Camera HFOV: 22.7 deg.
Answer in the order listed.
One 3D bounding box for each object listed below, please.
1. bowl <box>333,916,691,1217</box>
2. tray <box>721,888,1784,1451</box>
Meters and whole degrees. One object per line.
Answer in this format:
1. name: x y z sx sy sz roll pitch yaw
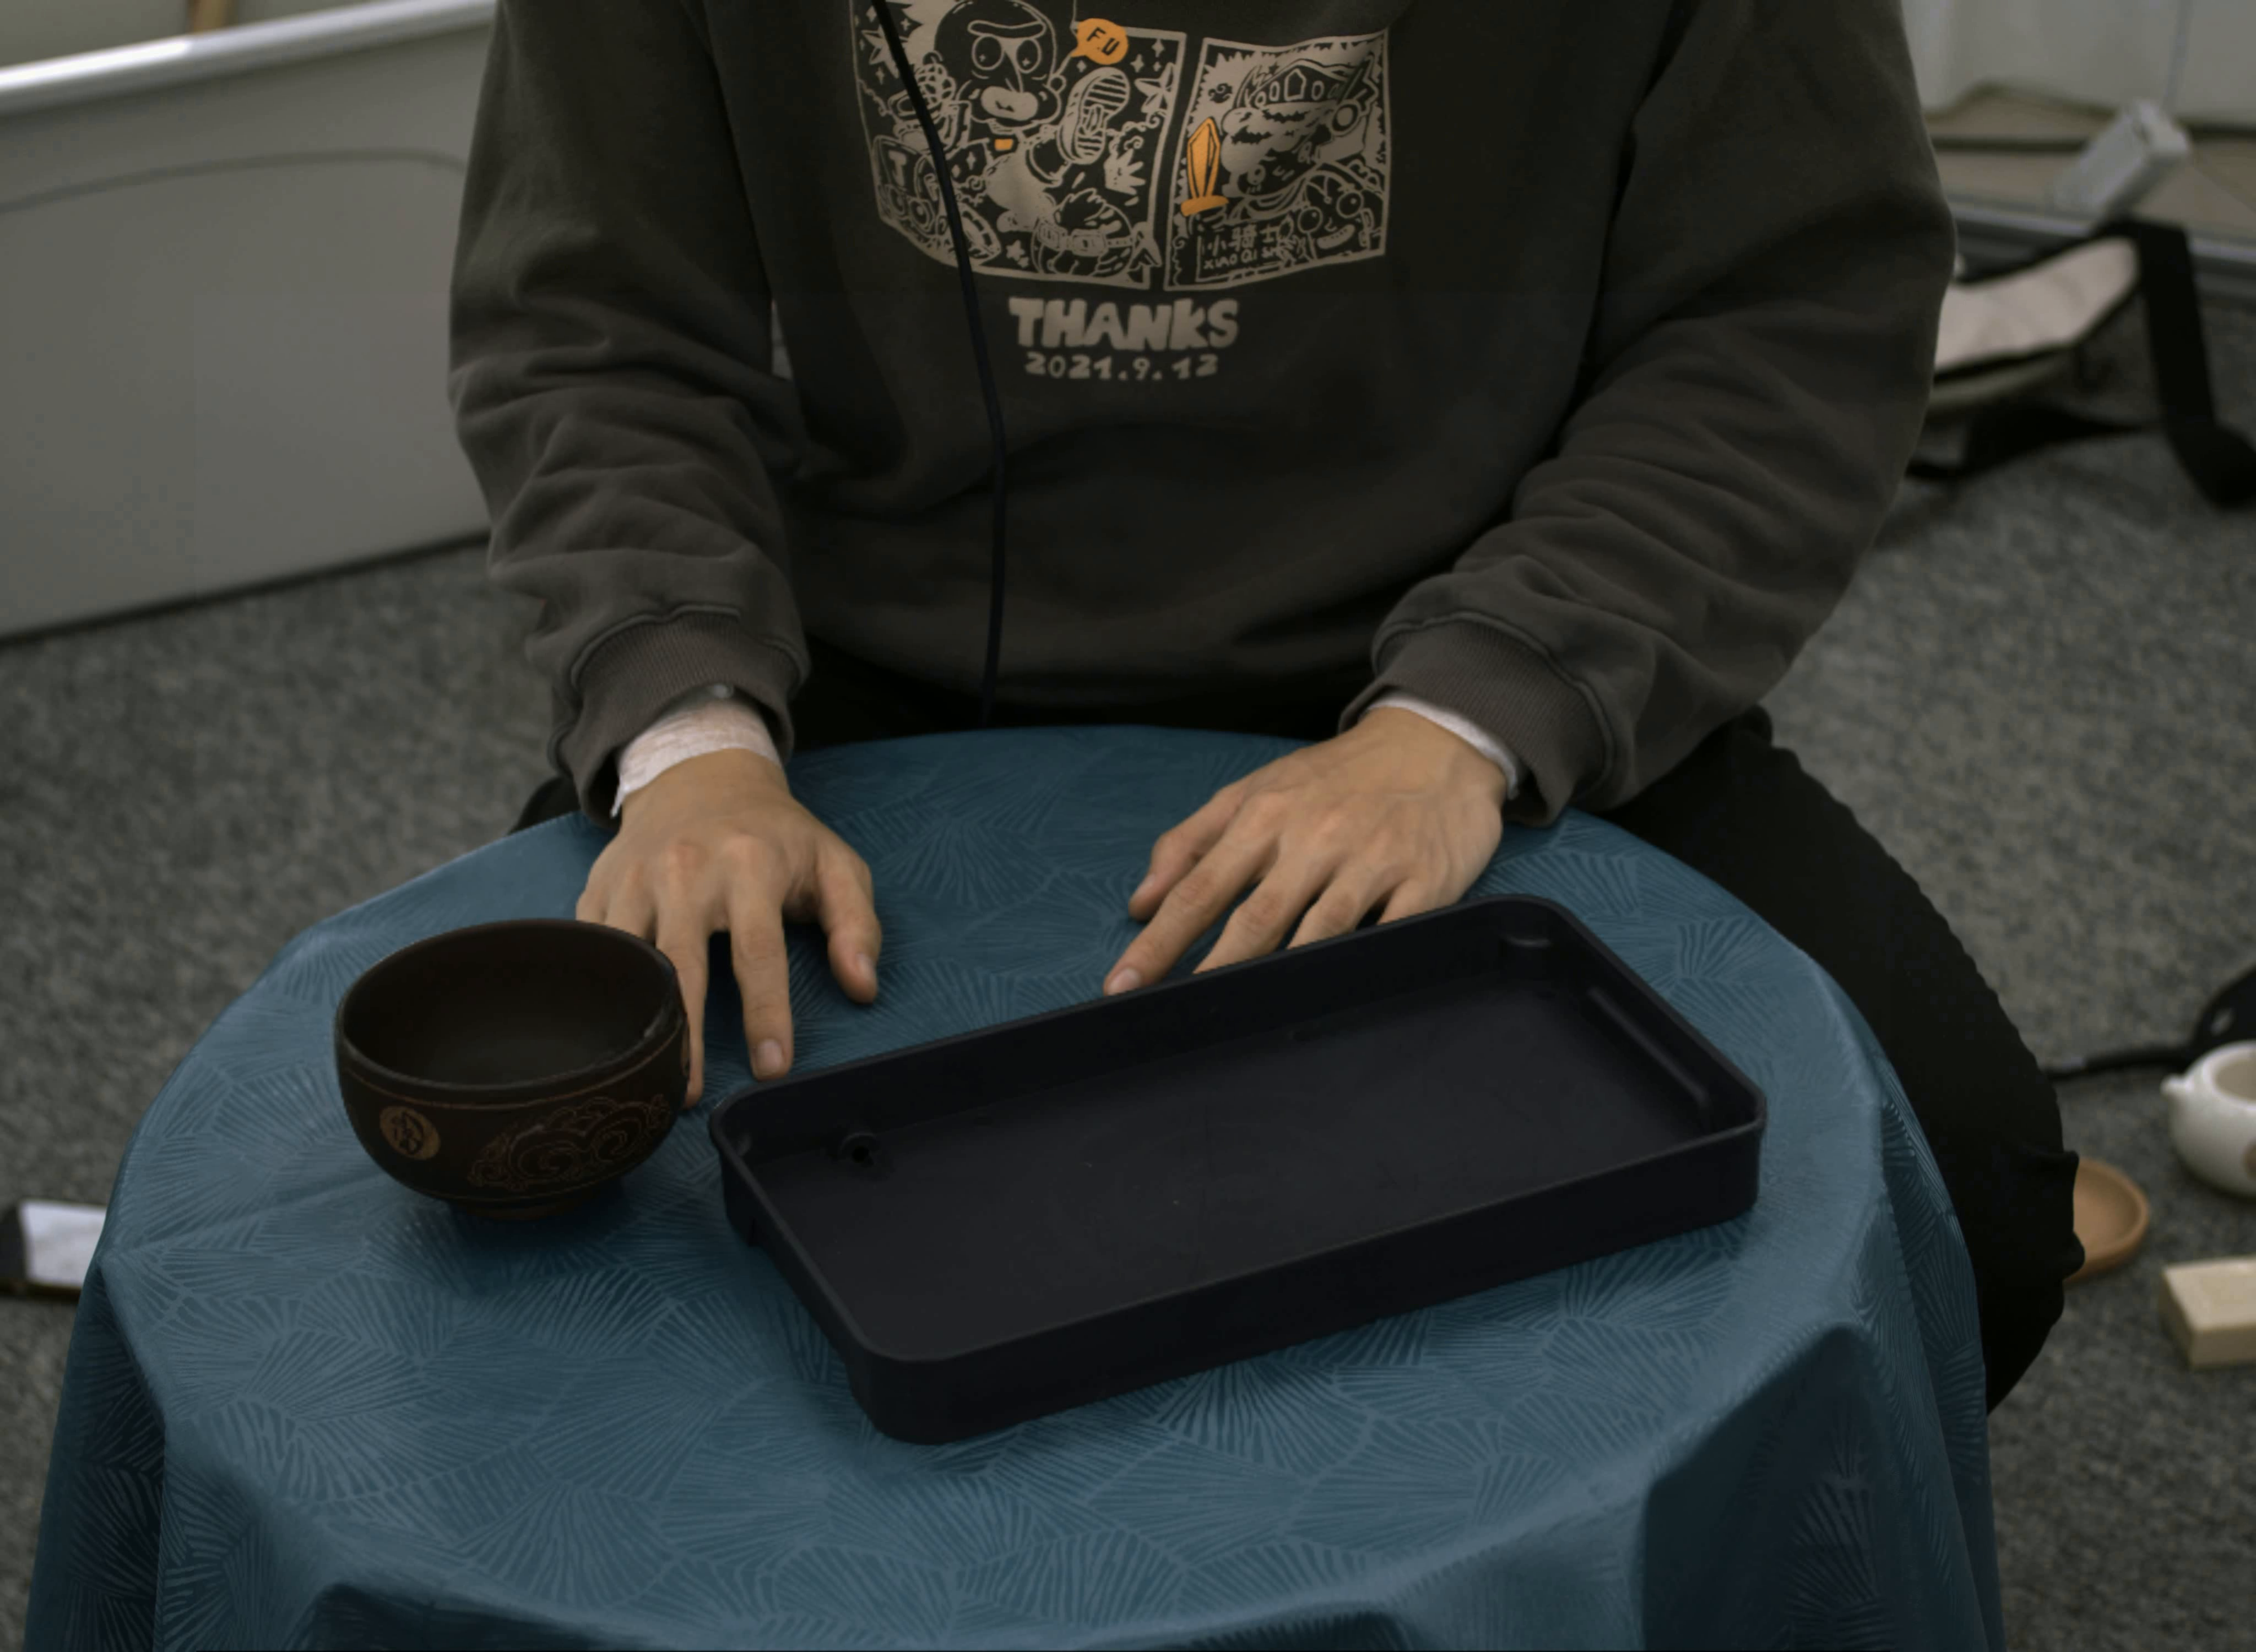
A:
1. bowl: -0.203 0.087 1.870 0.117 0.069 0.120 -2 26 1
2. tray: 0.041 0.108 1.846 0.319 0.036 0.185 -15 29 -21
